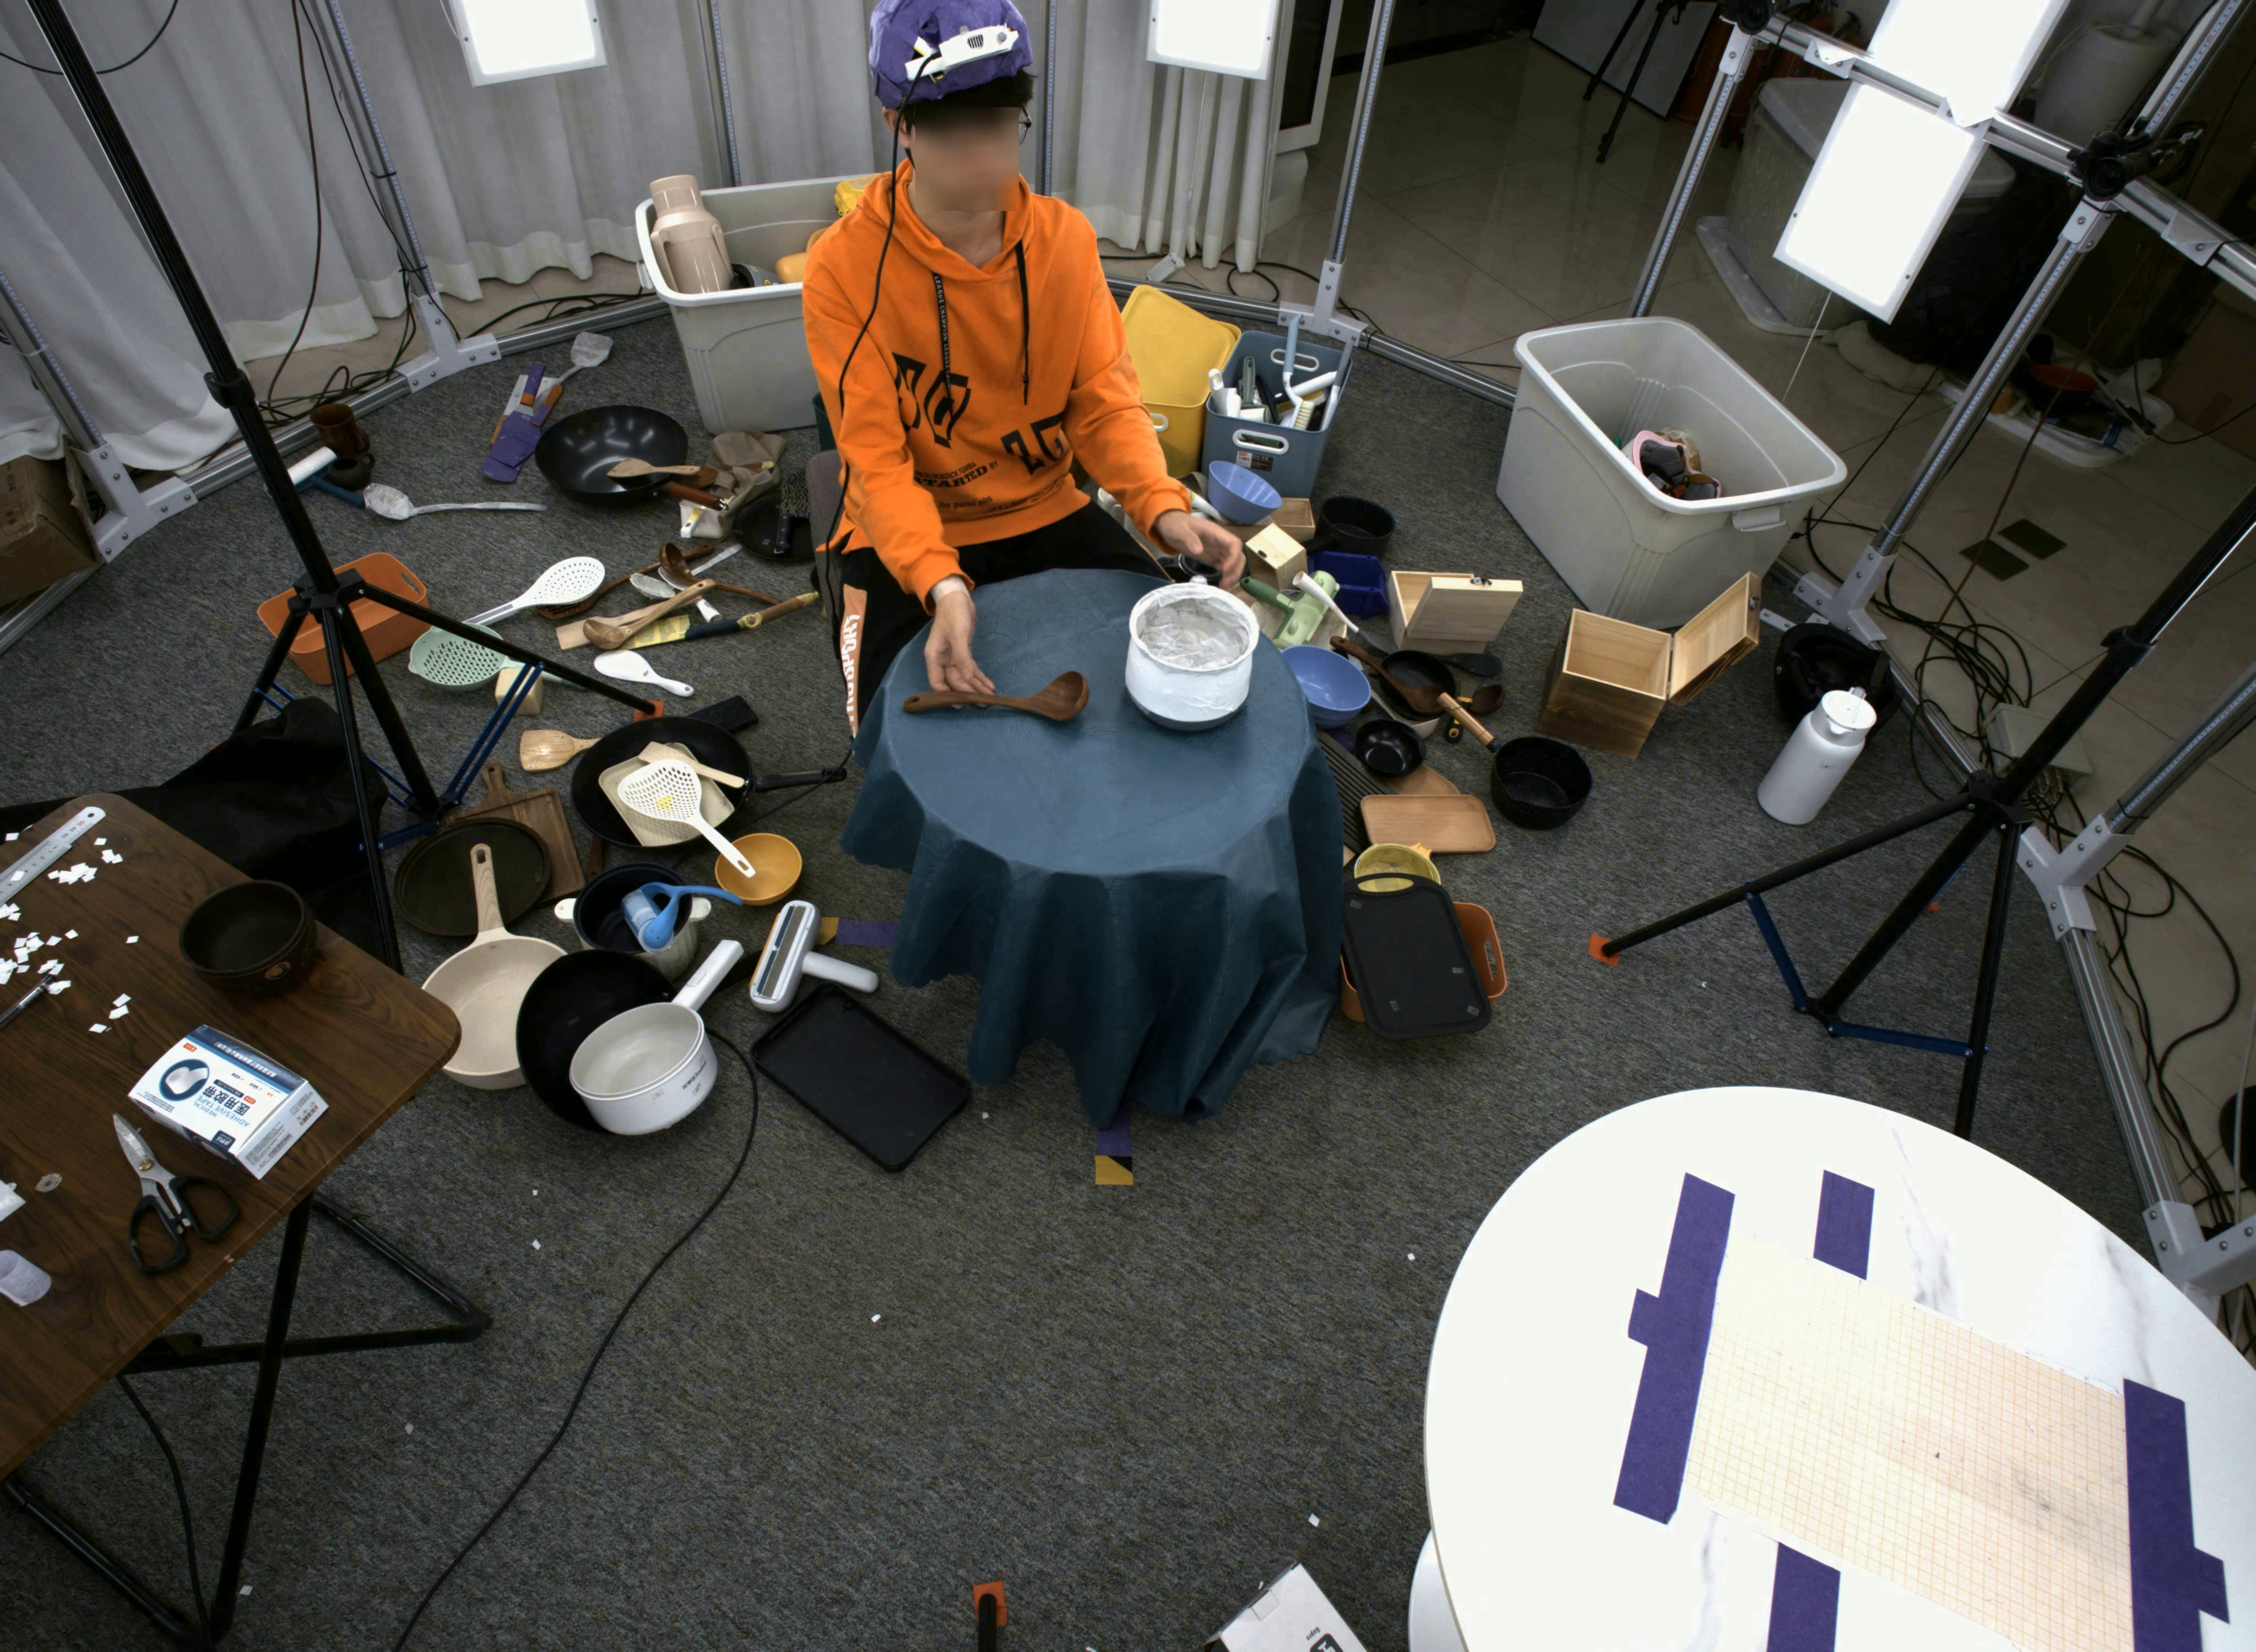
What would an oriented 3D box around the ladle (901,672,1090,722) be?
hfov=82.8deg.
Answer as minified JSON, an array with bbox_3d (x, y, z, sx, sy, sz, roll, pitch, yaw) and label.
[{"bbox_3d":[-0.182,-0.180,1.772,0.260,0.063,0.078,2,50,-3],"label":"ladle"}]

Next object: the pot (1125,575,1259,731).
[{"bbox_3d":[0.088,-0.253,1.805,0.178,0.133,0.239,6,49,0],"label":"pot"}]
